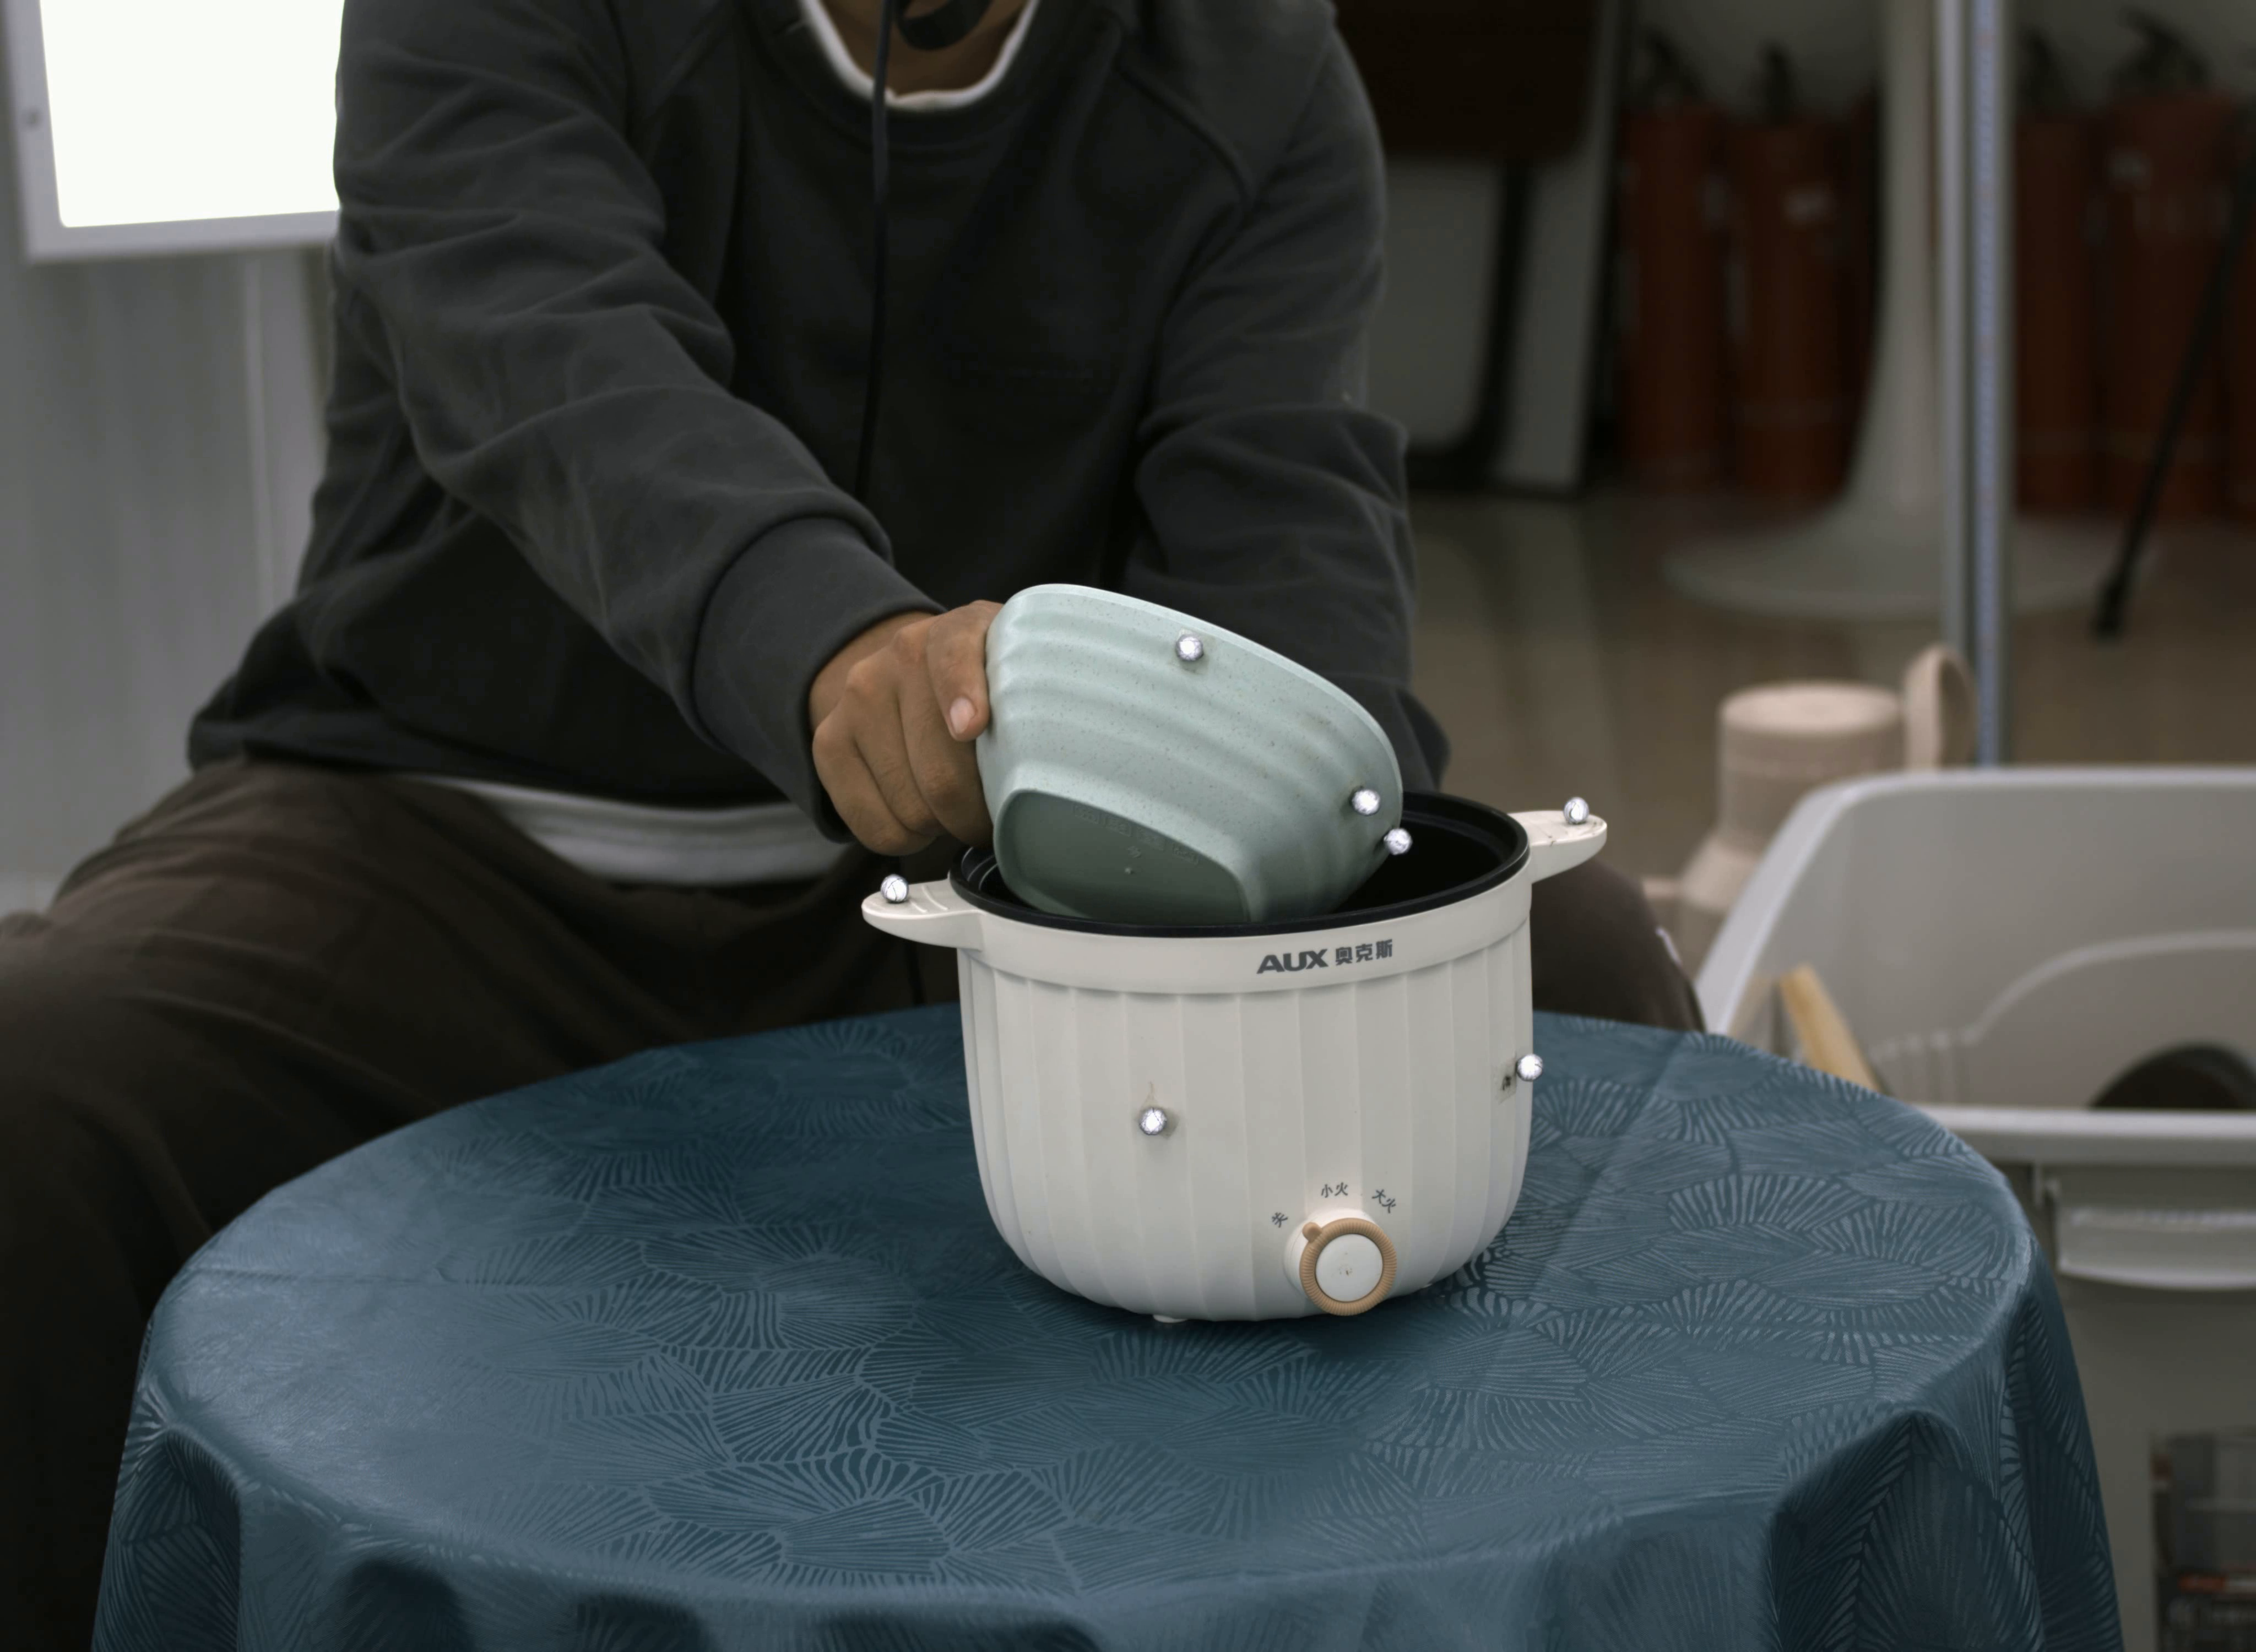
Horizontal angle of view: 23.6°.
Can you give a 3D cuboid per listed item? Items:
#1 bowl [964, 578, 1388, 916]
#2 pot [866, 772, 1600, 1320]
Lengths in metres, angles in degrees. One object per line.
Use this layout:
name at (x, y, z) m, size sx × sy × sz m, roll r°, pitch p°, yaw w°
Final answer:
bowl at (0.005, -0.005, 1.626) m, size 0.152 × 0.150 × 0.059 m, roll 7°, pitch 56°, yaw 35°
pot at (0.041, 0.070, 1.674) m, size 0.236 × 0.144 × 0.192 m, roll -9°, pitch 11°, yaw -14°
